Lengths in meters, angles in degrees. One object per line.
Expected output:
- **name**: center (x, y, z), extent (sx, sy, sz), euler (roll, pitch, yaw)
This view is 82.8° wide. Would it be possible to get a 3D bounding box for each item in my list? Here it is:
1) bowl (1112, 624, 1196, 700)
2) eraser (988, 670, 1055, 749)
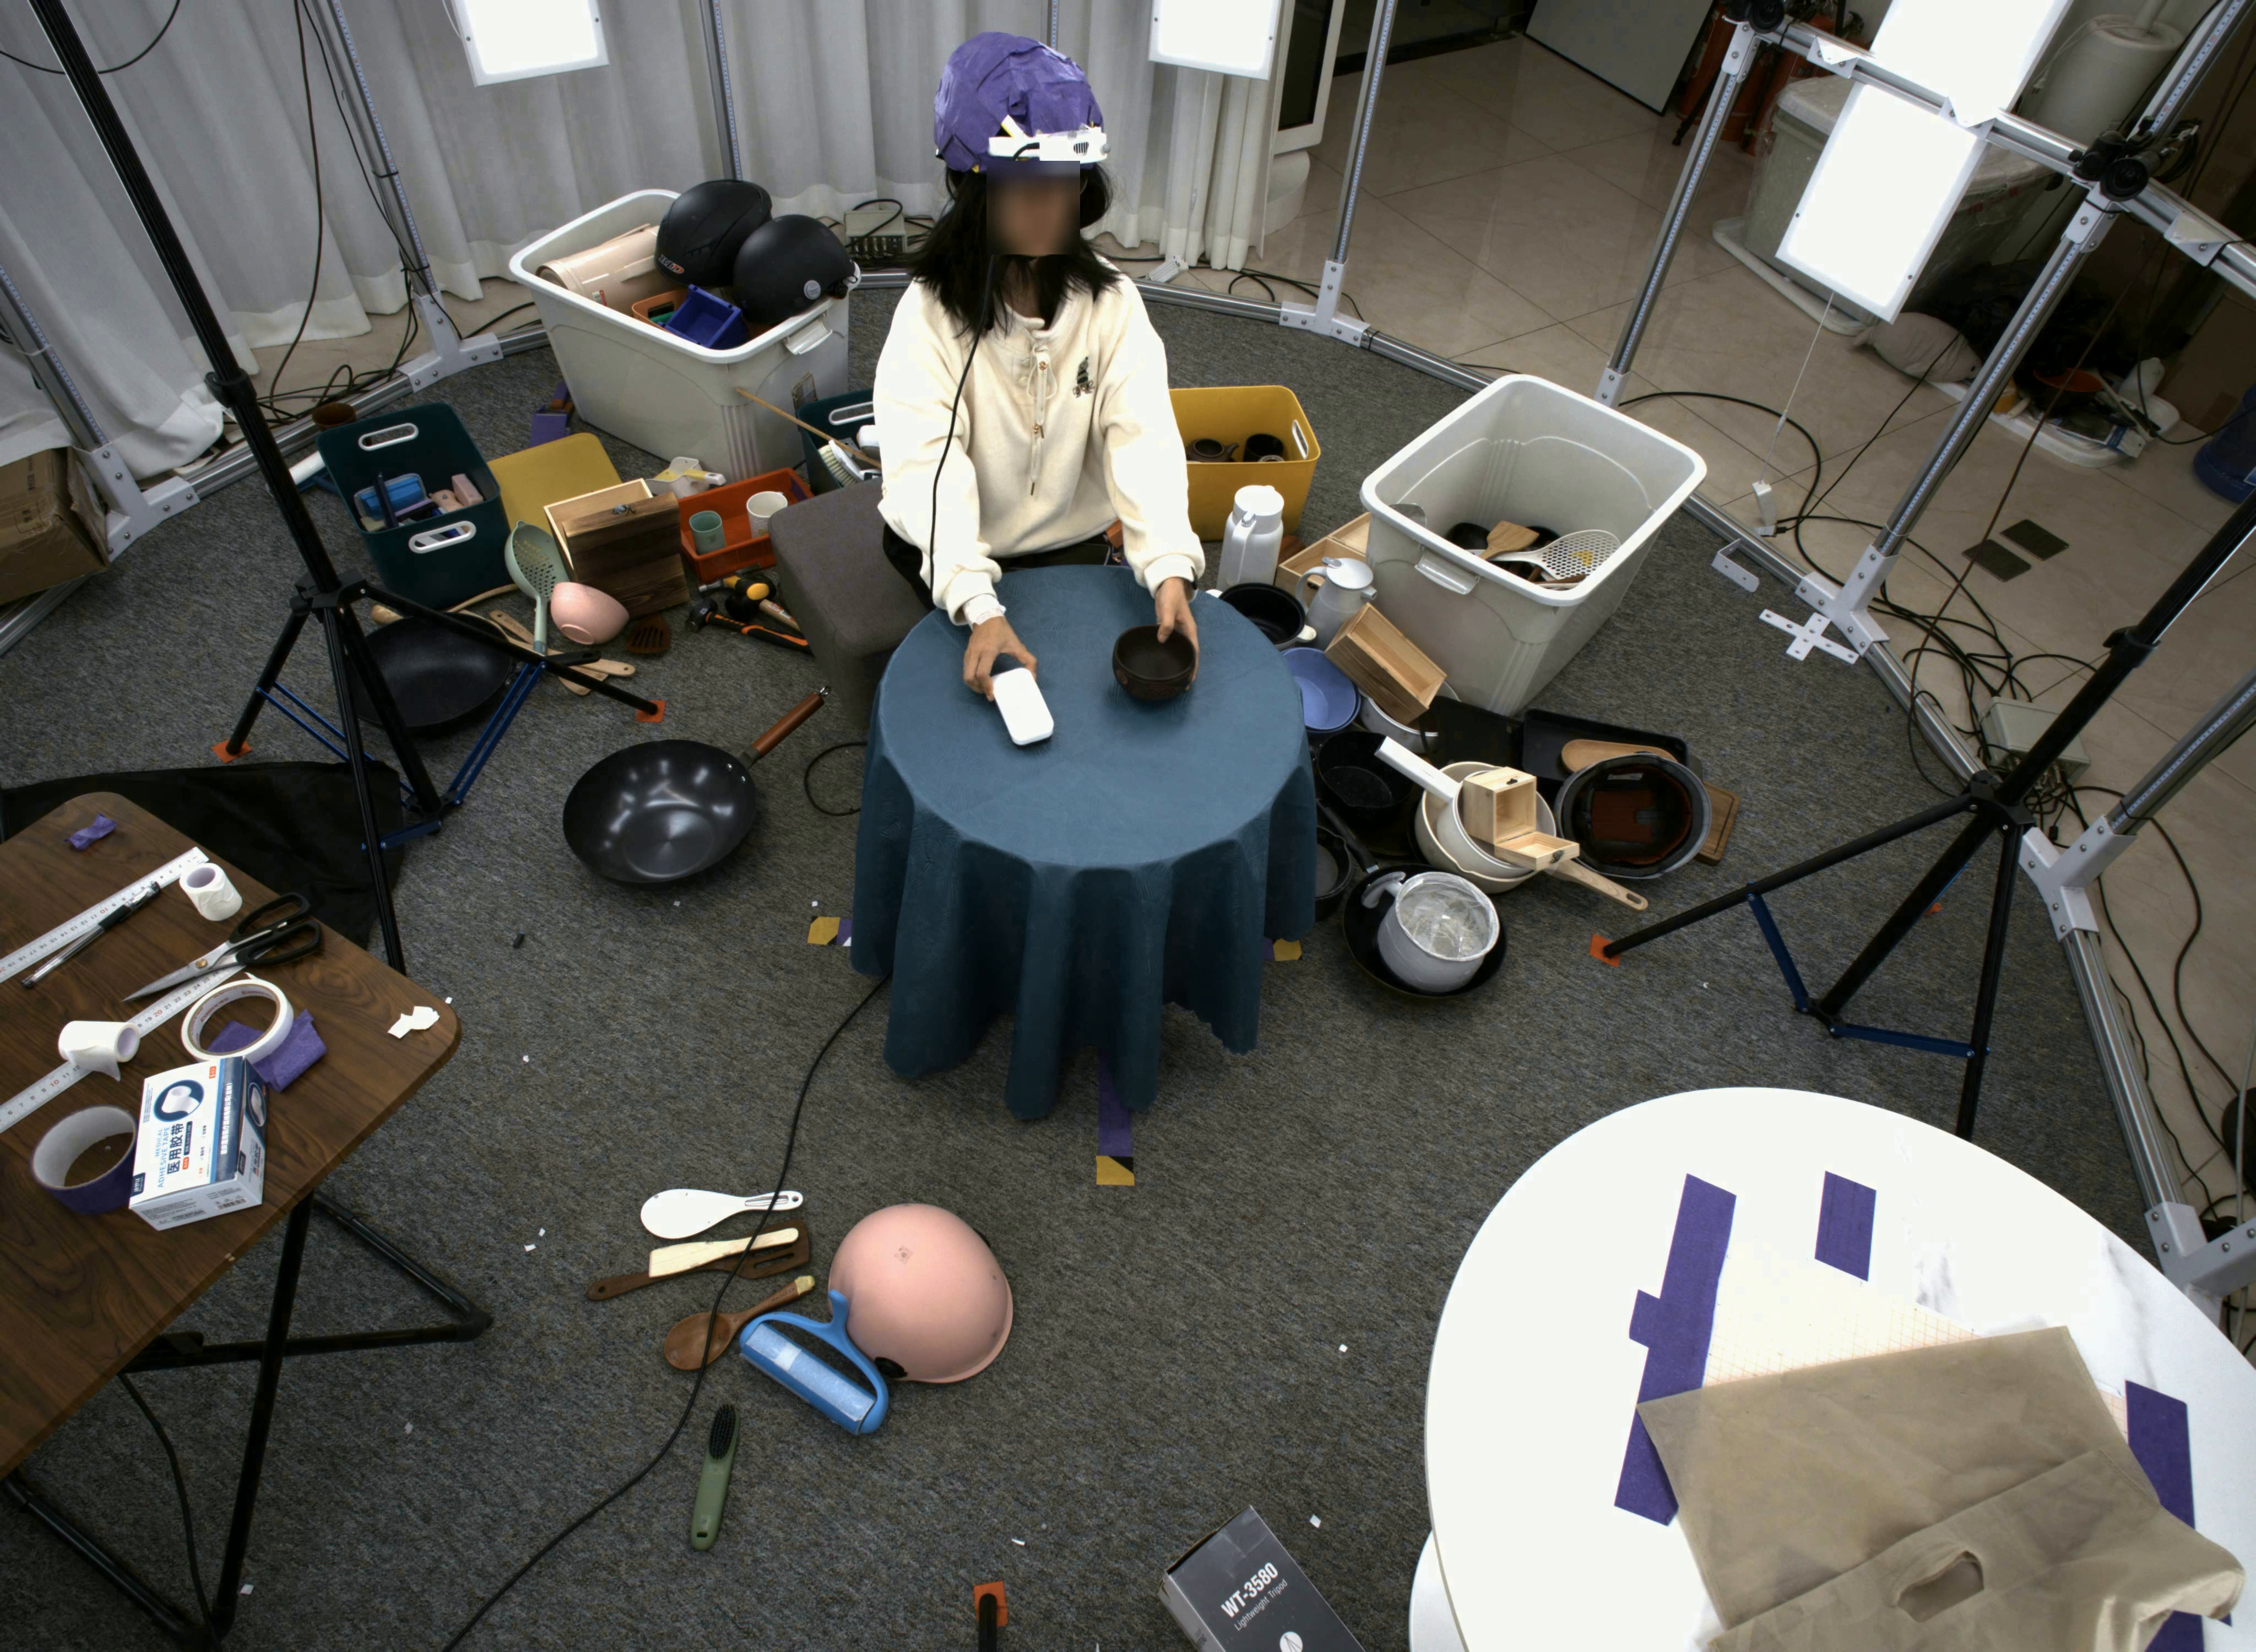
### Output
- **bowl**: center (0.035, -0.225, 1.821), extent (0.118, 0.068, 0.121), euler (3, 47, -4)
- **eraser**: center (-0.147, -0.165, 1.781), extent (0.063, 0.034, 0.134), euler (-17, 53, -13)
